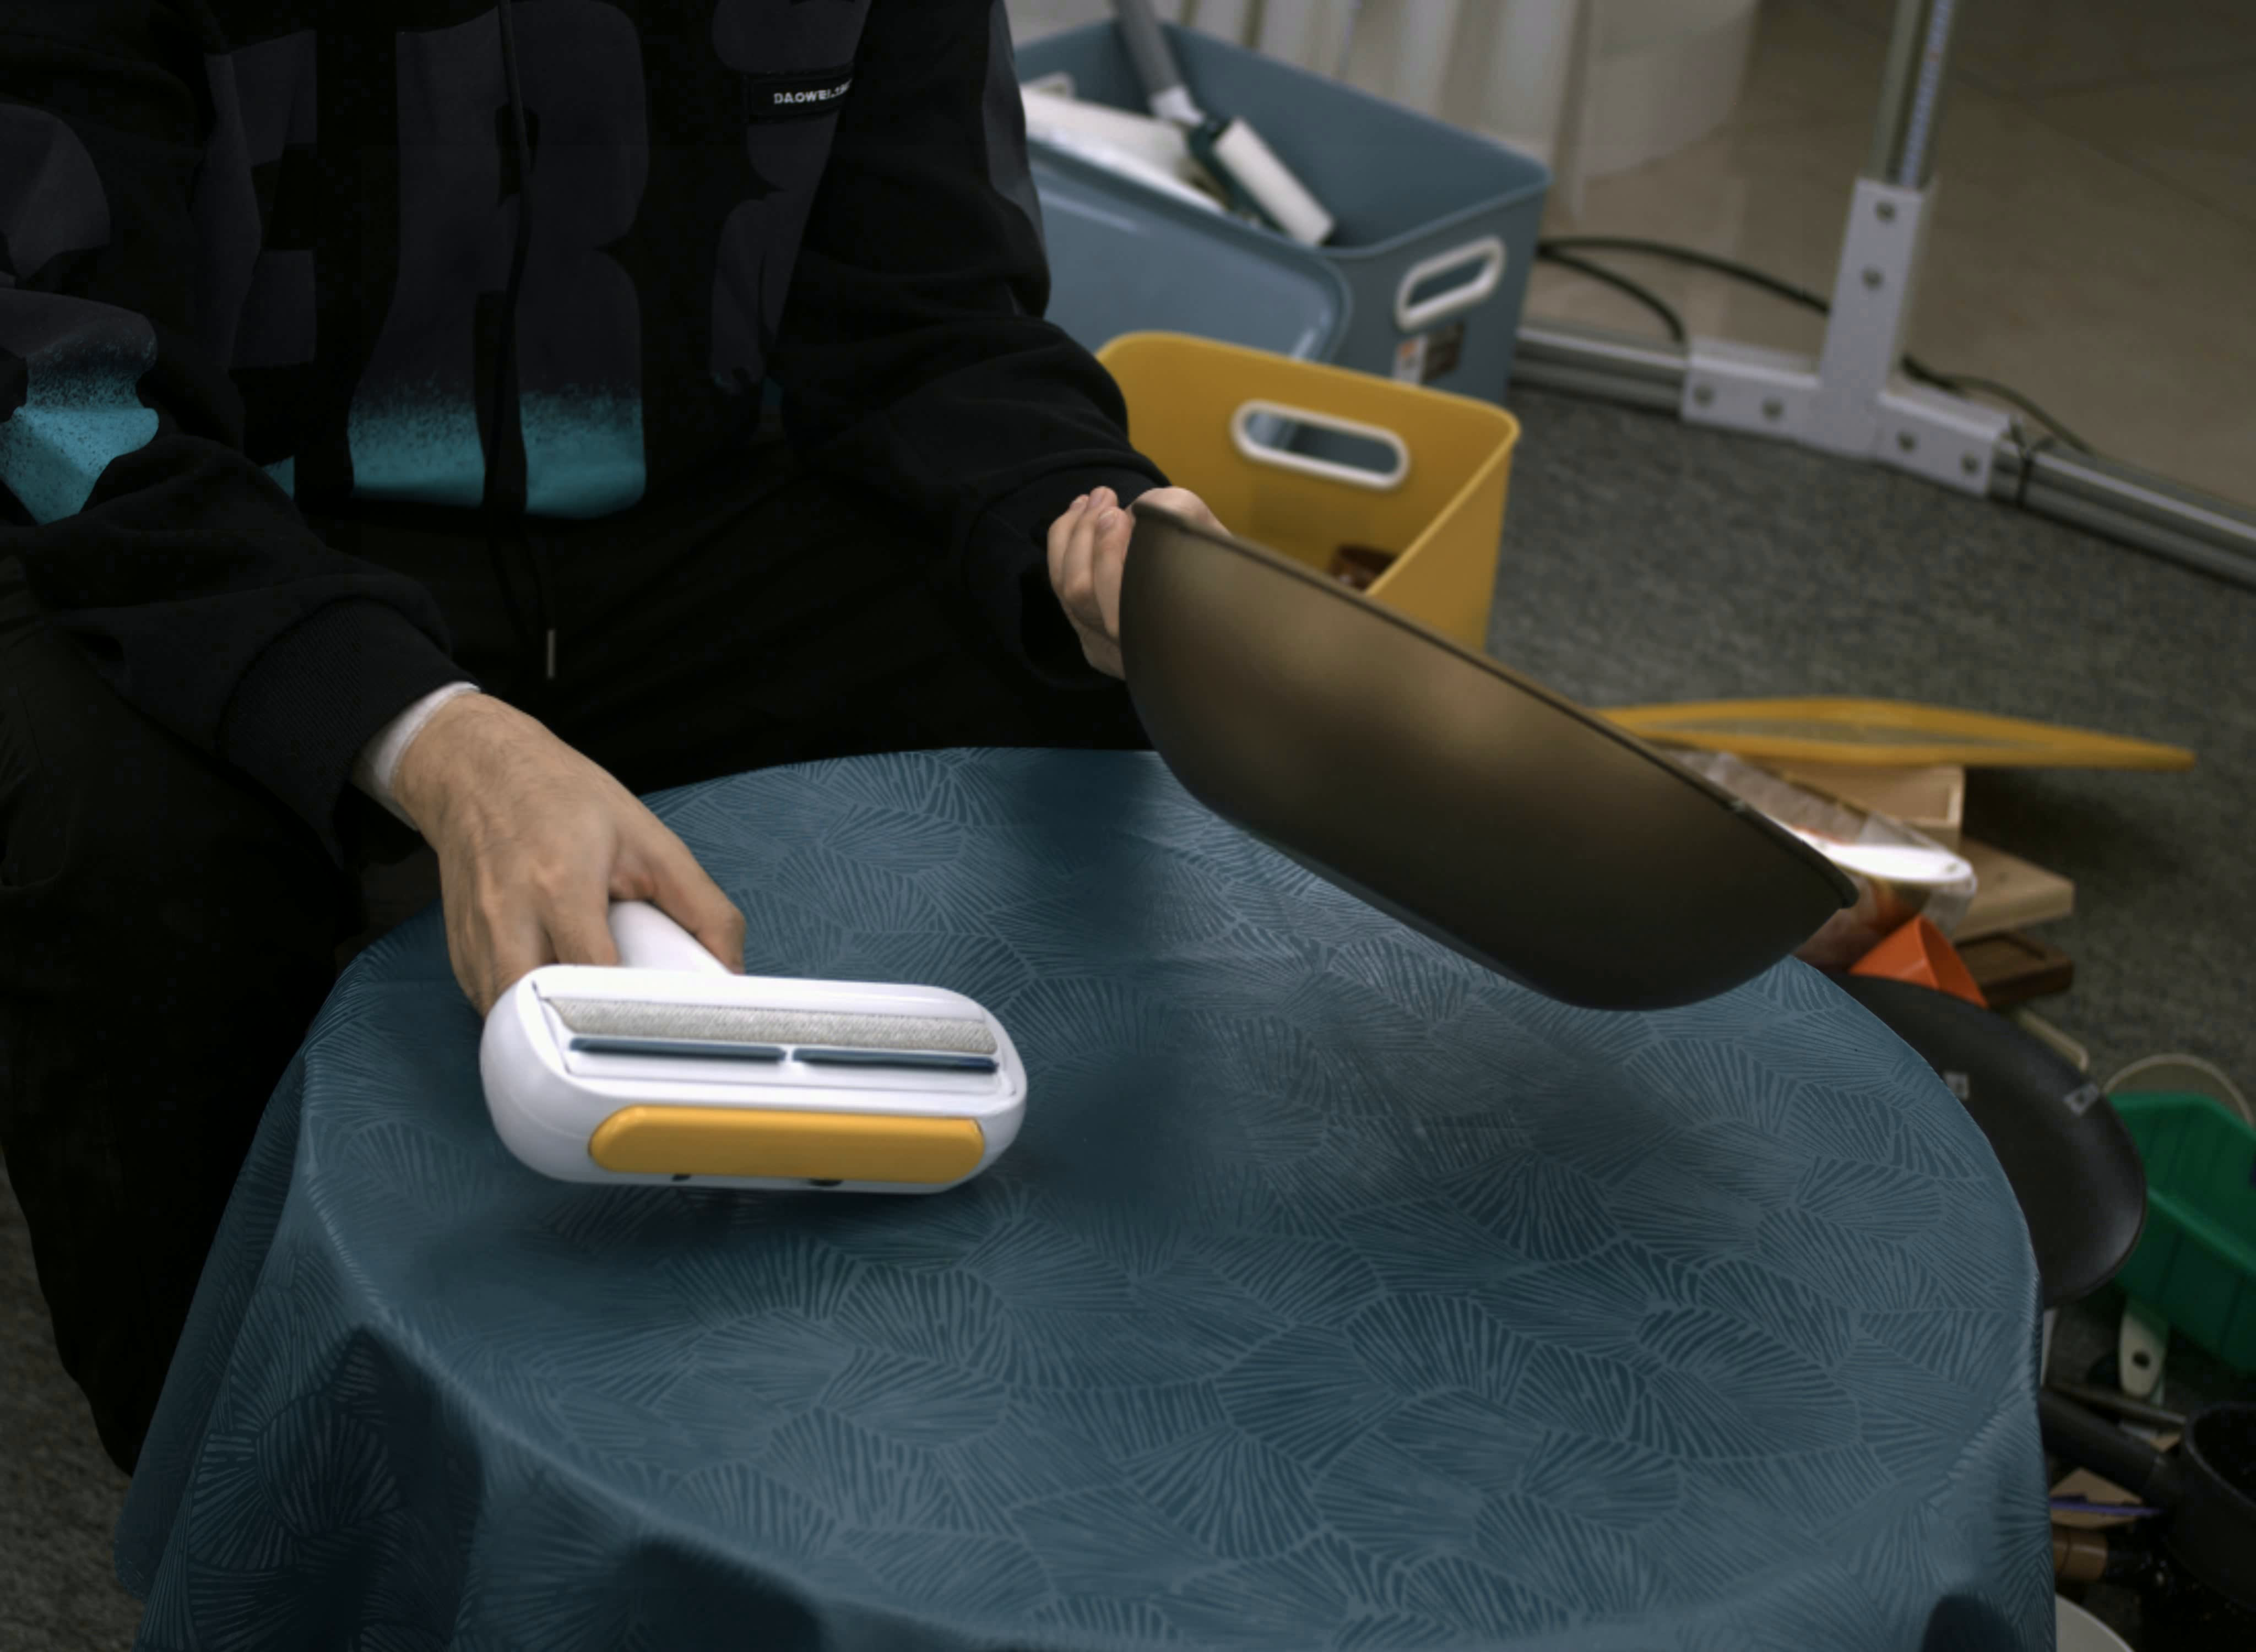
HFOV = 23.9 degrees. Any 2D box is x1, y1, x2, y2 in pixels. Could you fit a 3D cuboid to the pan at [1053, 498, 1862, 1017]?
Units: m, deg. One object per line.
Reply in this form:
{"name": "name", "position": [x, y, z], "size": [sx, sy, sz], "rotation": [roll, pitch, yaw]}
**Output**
{"name": "pan", "position": [0.063, -0.030, 1.881], "size": [0.285, 0.087, 0.466], "rotation": [30, -2, -31]}

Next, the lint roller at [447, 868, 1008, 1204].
{"name": "lint roller", "position": [-0.152, 0.058, 1.795], "size": [0.191, 0.074, 0.194], "rotation": [2, 33, -26]}
